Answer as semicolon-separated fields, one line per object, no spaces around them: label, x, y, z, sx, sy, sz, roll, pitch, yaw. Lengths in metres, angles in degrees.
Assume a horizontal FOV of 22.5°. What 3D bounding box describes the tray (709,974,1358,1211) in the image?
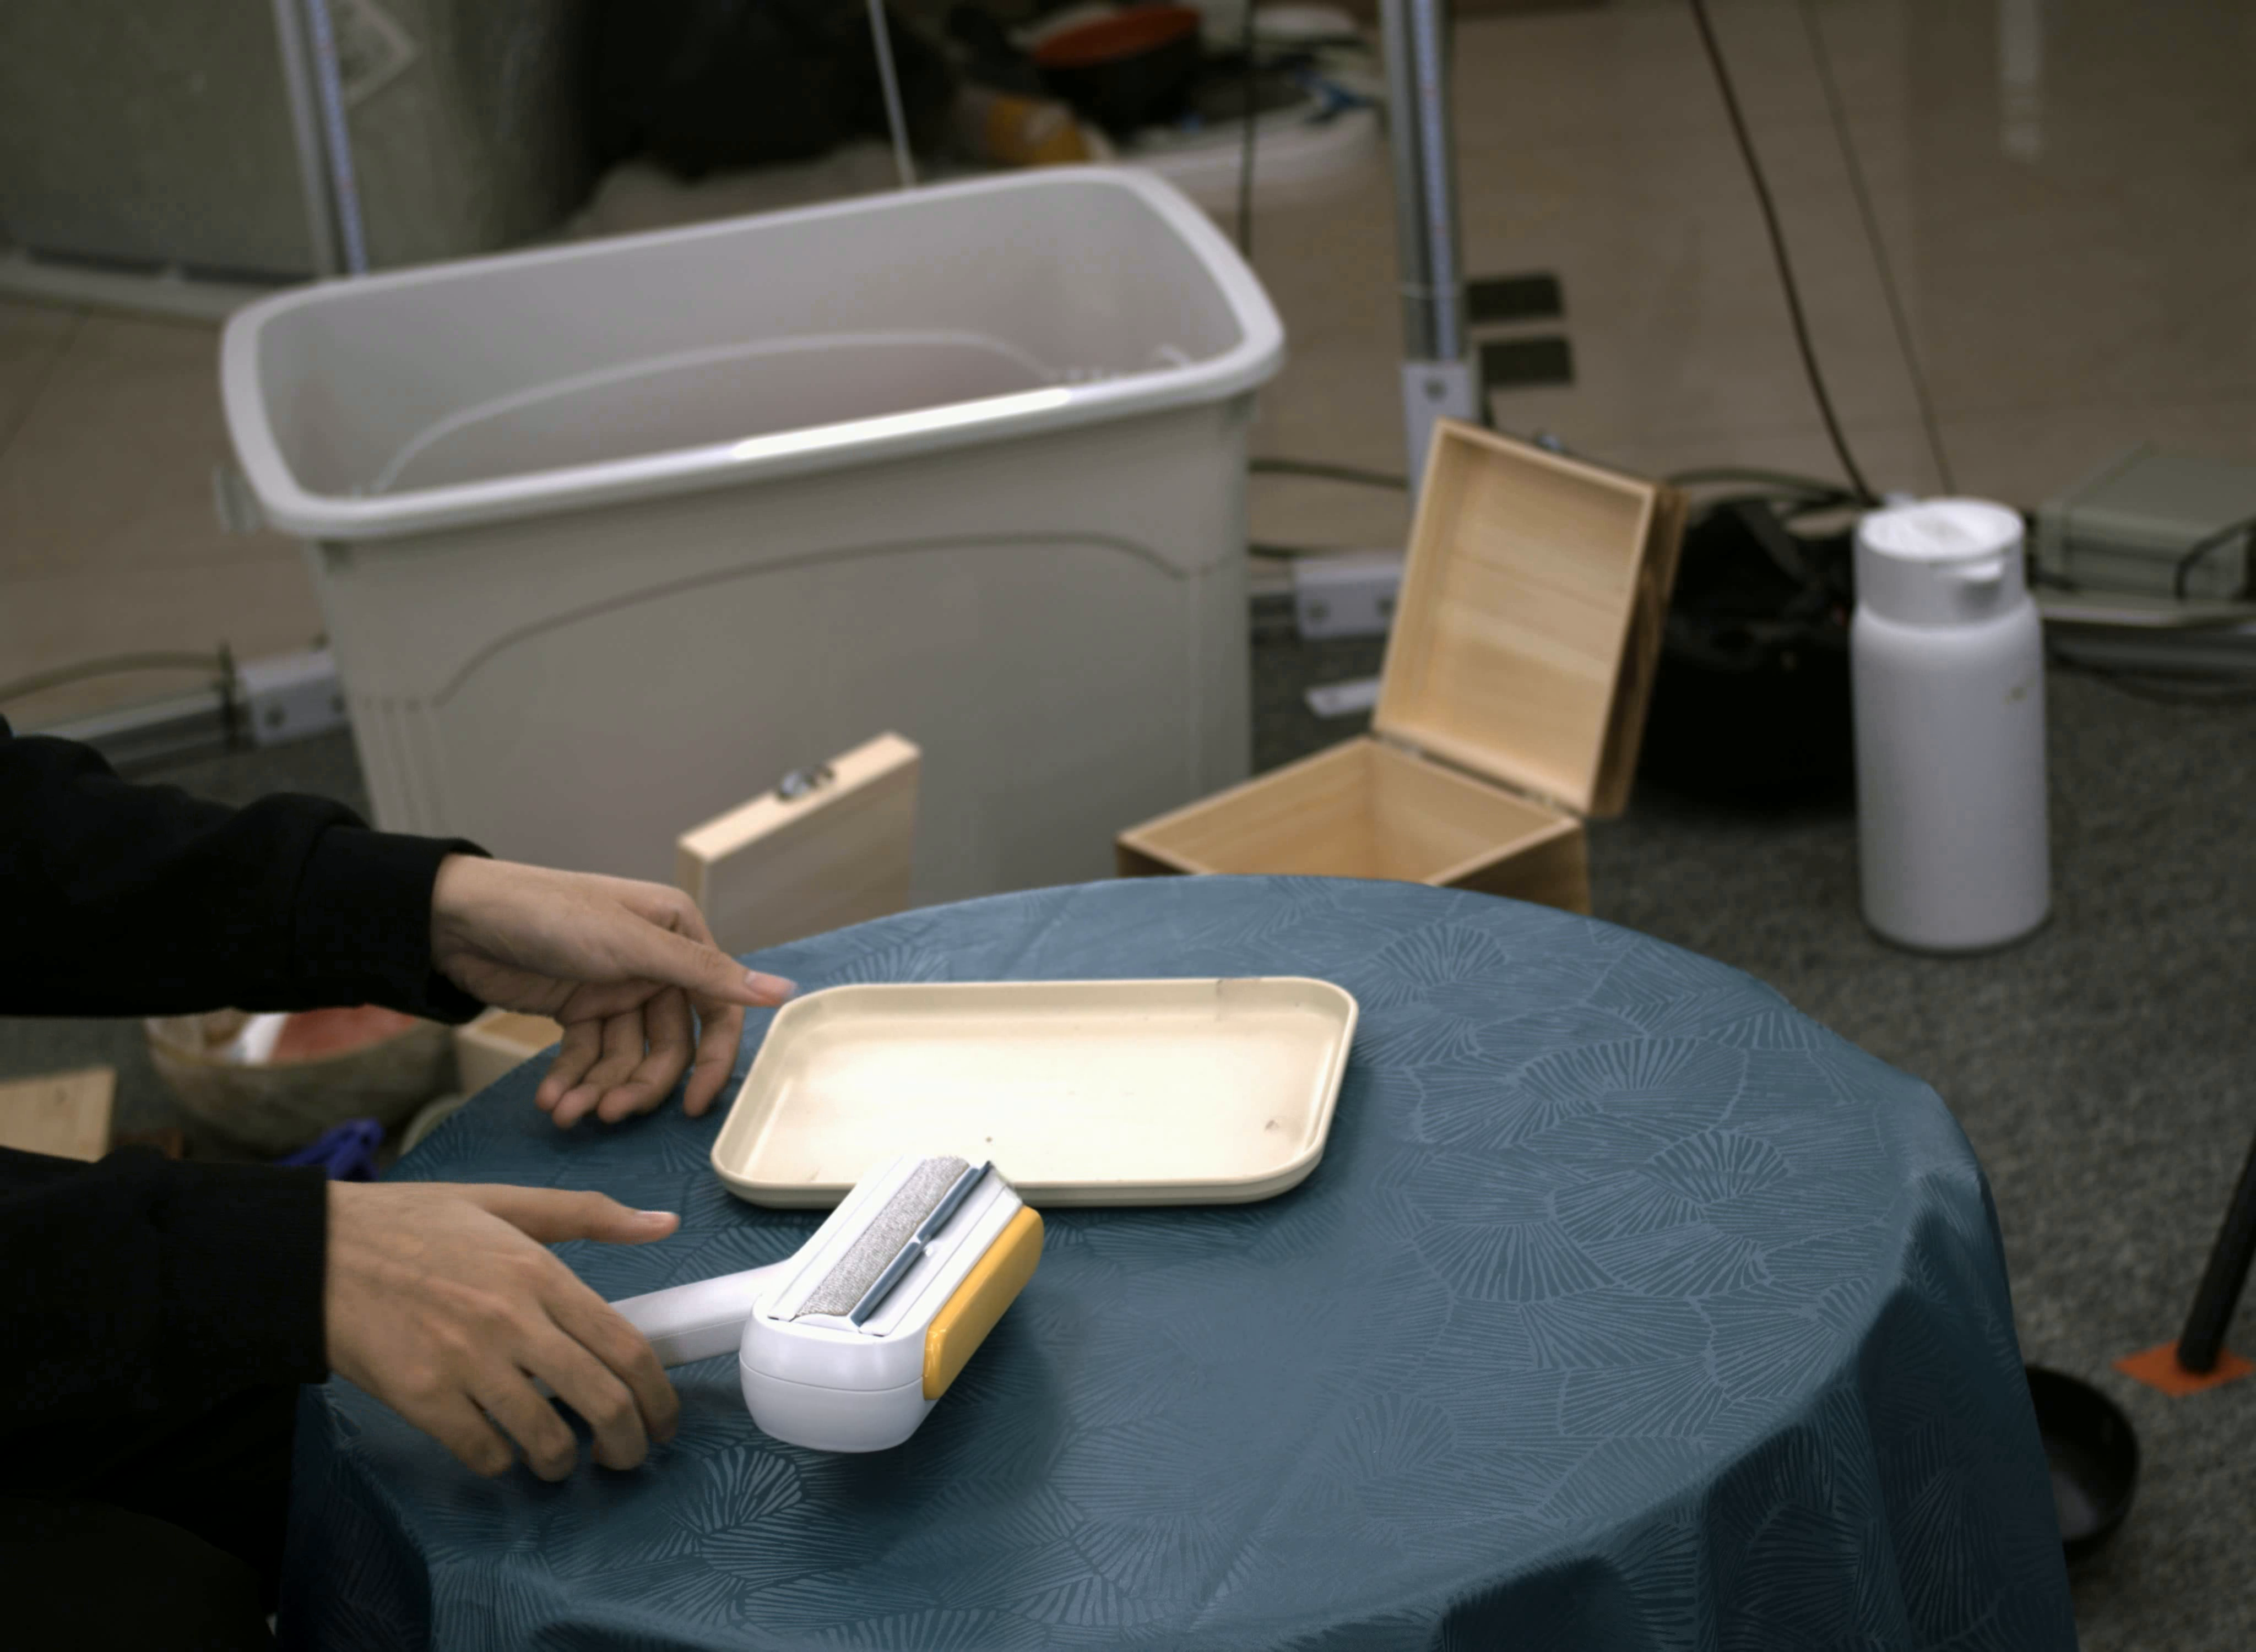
tray;-0.034;0.105;2.205;0.239;0.018;0.169;-1;26;11

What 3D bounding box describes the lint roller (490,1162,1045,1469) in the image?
lint roller;-0.140;0.176;2.020;0.192;0.075;0.190;0;21;18
